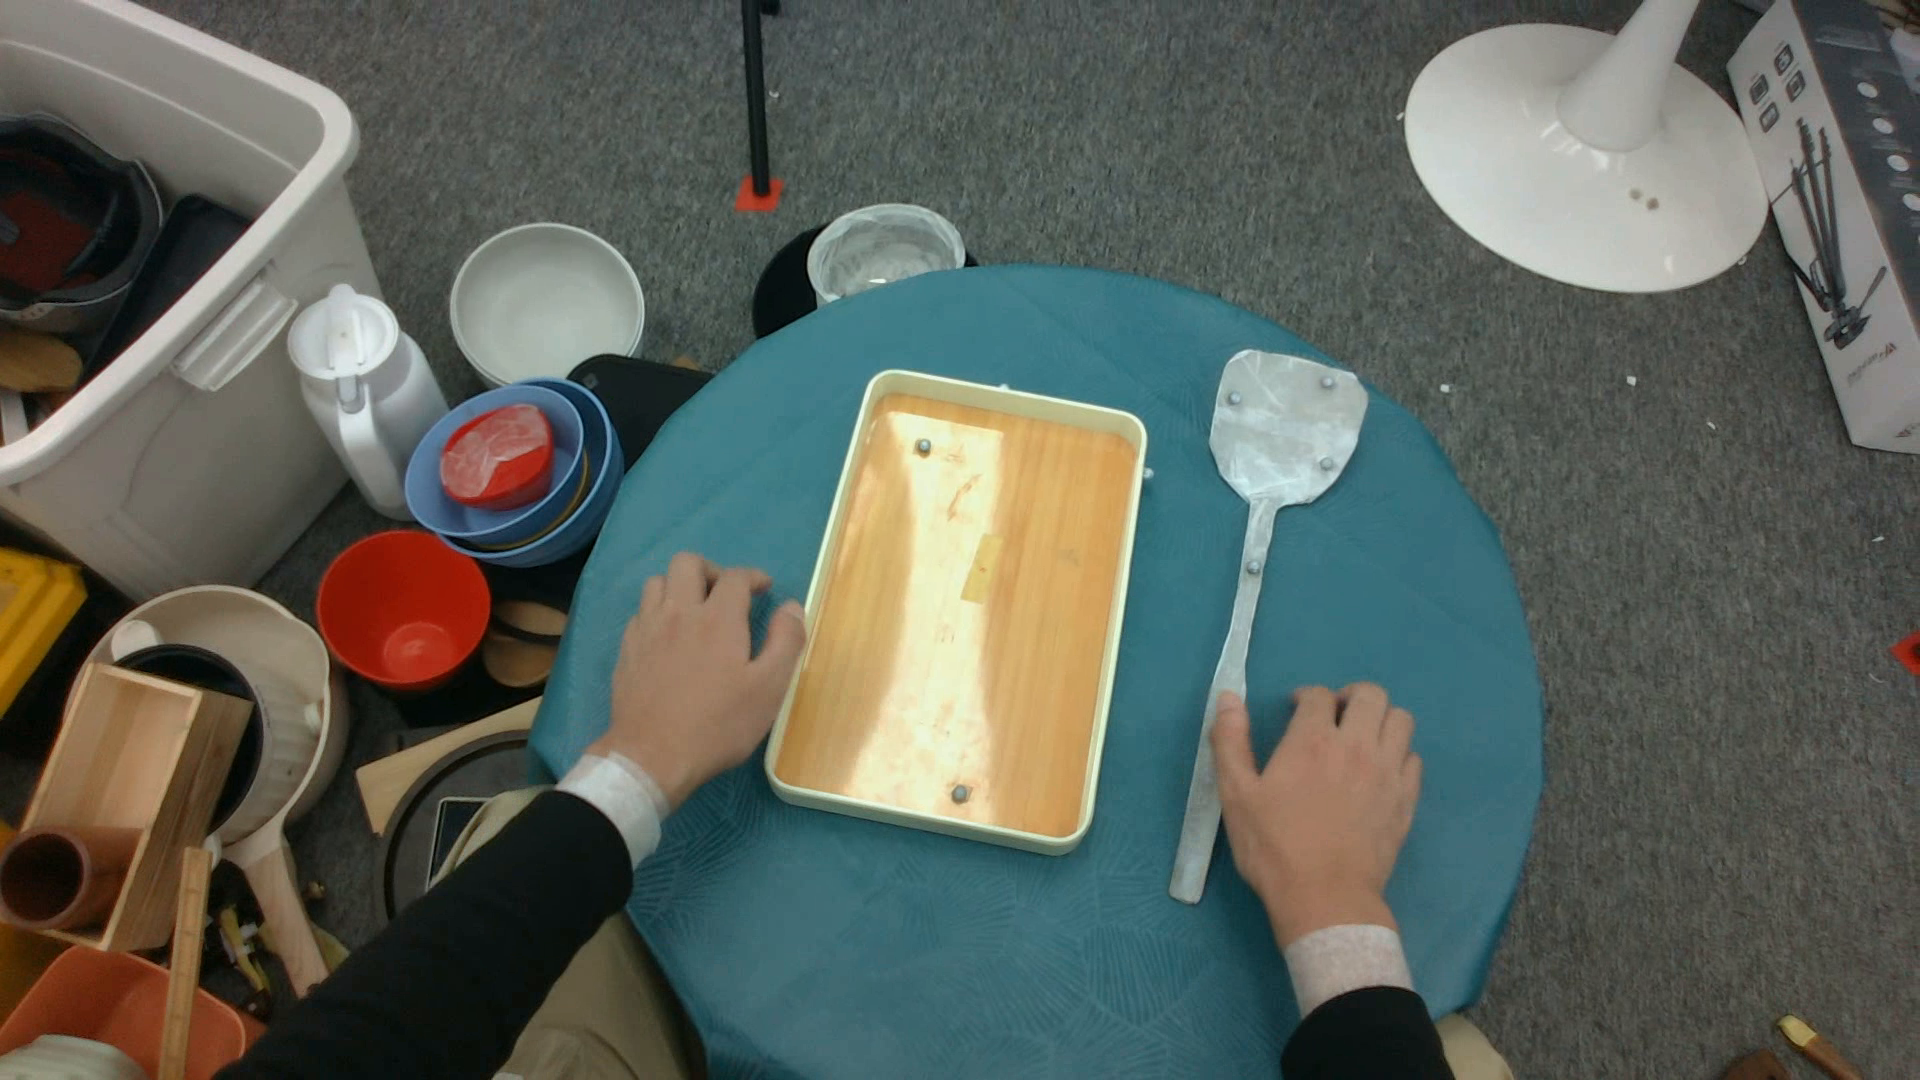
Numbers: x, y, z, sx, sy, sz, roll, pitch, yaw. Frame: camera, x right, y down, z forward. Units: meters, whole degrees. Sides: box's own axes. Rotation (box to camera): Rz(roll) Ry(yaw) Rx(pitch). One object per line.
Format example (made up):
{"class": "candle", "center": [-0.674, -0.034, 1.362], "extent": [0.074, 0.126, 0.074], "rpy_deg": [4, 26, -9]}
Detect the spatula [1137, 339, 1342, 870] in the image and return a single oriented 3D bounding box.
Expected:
{"class": "spatula", "center": [0.163, 0.030, 0.856], "extent": [0.098, 0.044, 0.366], "rpy_deg": [16, 60, 4]}

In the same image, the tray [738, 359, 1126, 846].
{"class": "tray", "center": [-0.009, 0.027, 0.850], "extent": [0.191, 0.027, 0.301], "rpy_deg": [11, 60, 2]}
